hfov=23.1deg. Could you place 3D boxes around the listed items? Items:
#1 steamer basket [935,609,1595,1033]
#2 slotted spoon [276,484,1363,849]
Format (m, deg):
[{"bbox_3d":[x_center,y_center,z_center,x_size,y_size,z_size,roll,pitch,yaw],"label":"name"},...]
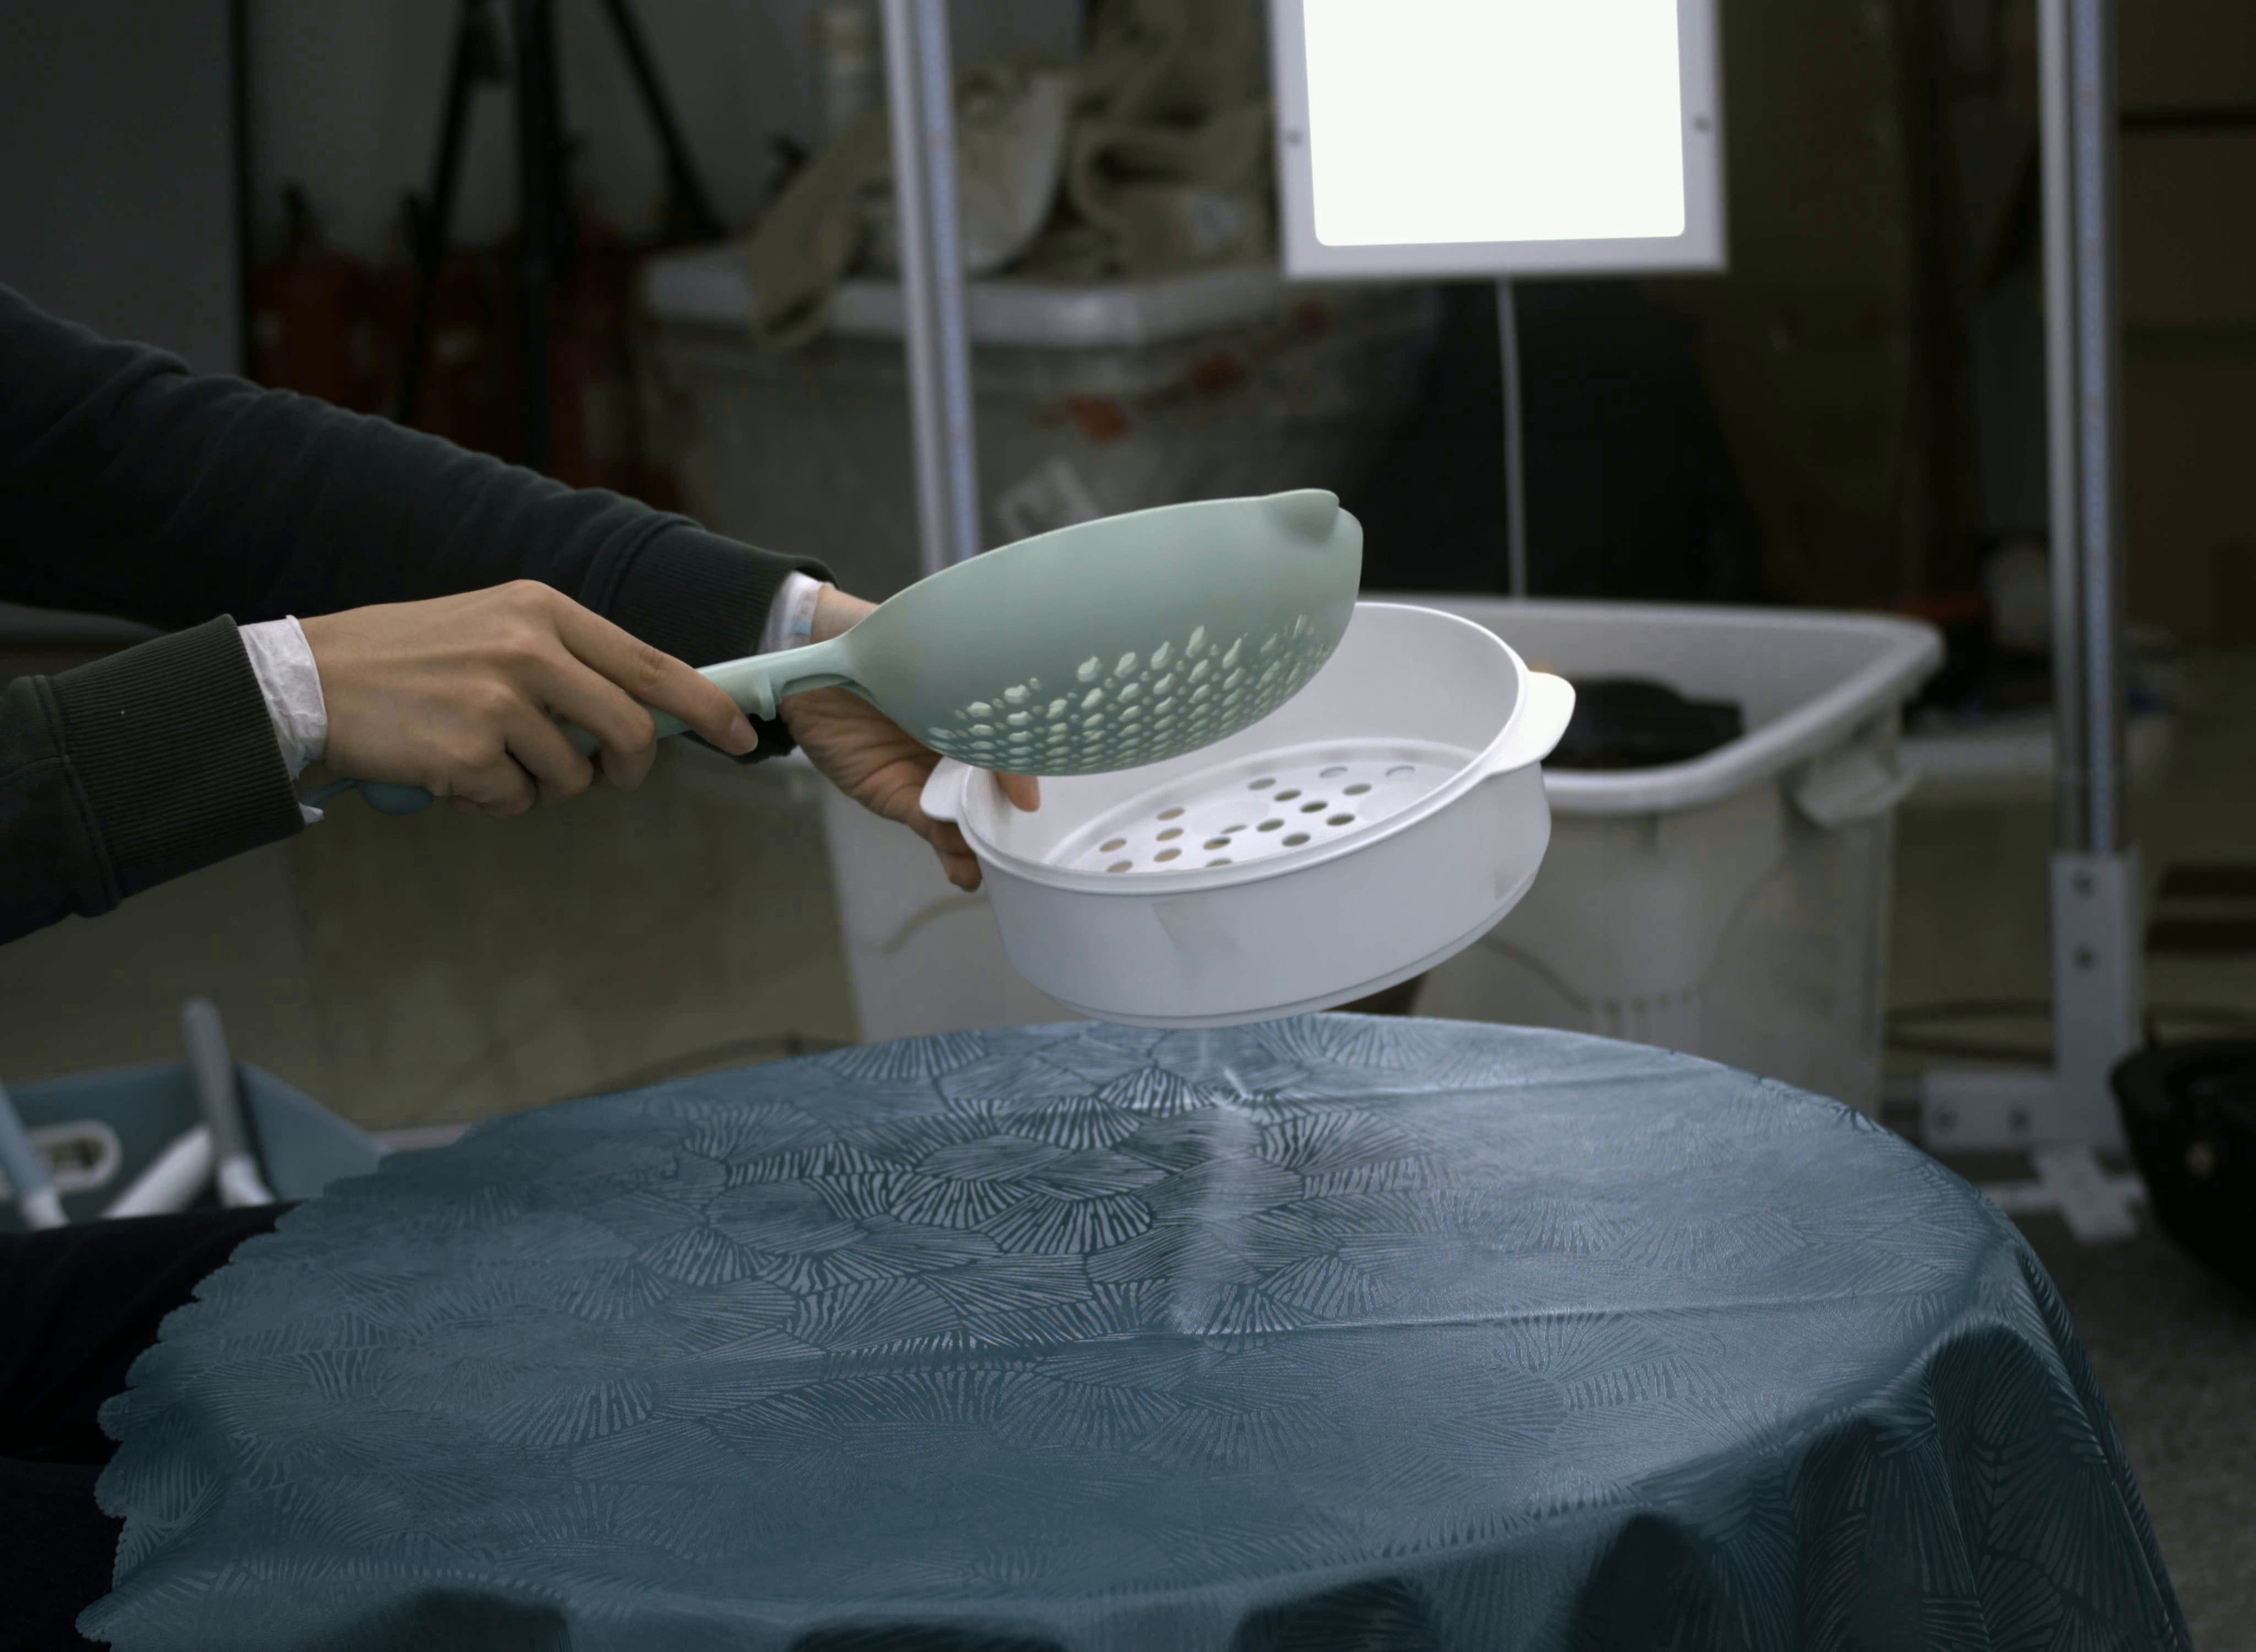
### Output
[{"bbox_3d":[0.051,-0.002,1.874,0.234,0.069,0.199,-6,26,20],"label":"steamer basket"},{"bbox_3d":[-0.098,-0.045,1.775,0.357,0.075,0.170,-5,-14,-2],"label":"slotted spoon"}]
